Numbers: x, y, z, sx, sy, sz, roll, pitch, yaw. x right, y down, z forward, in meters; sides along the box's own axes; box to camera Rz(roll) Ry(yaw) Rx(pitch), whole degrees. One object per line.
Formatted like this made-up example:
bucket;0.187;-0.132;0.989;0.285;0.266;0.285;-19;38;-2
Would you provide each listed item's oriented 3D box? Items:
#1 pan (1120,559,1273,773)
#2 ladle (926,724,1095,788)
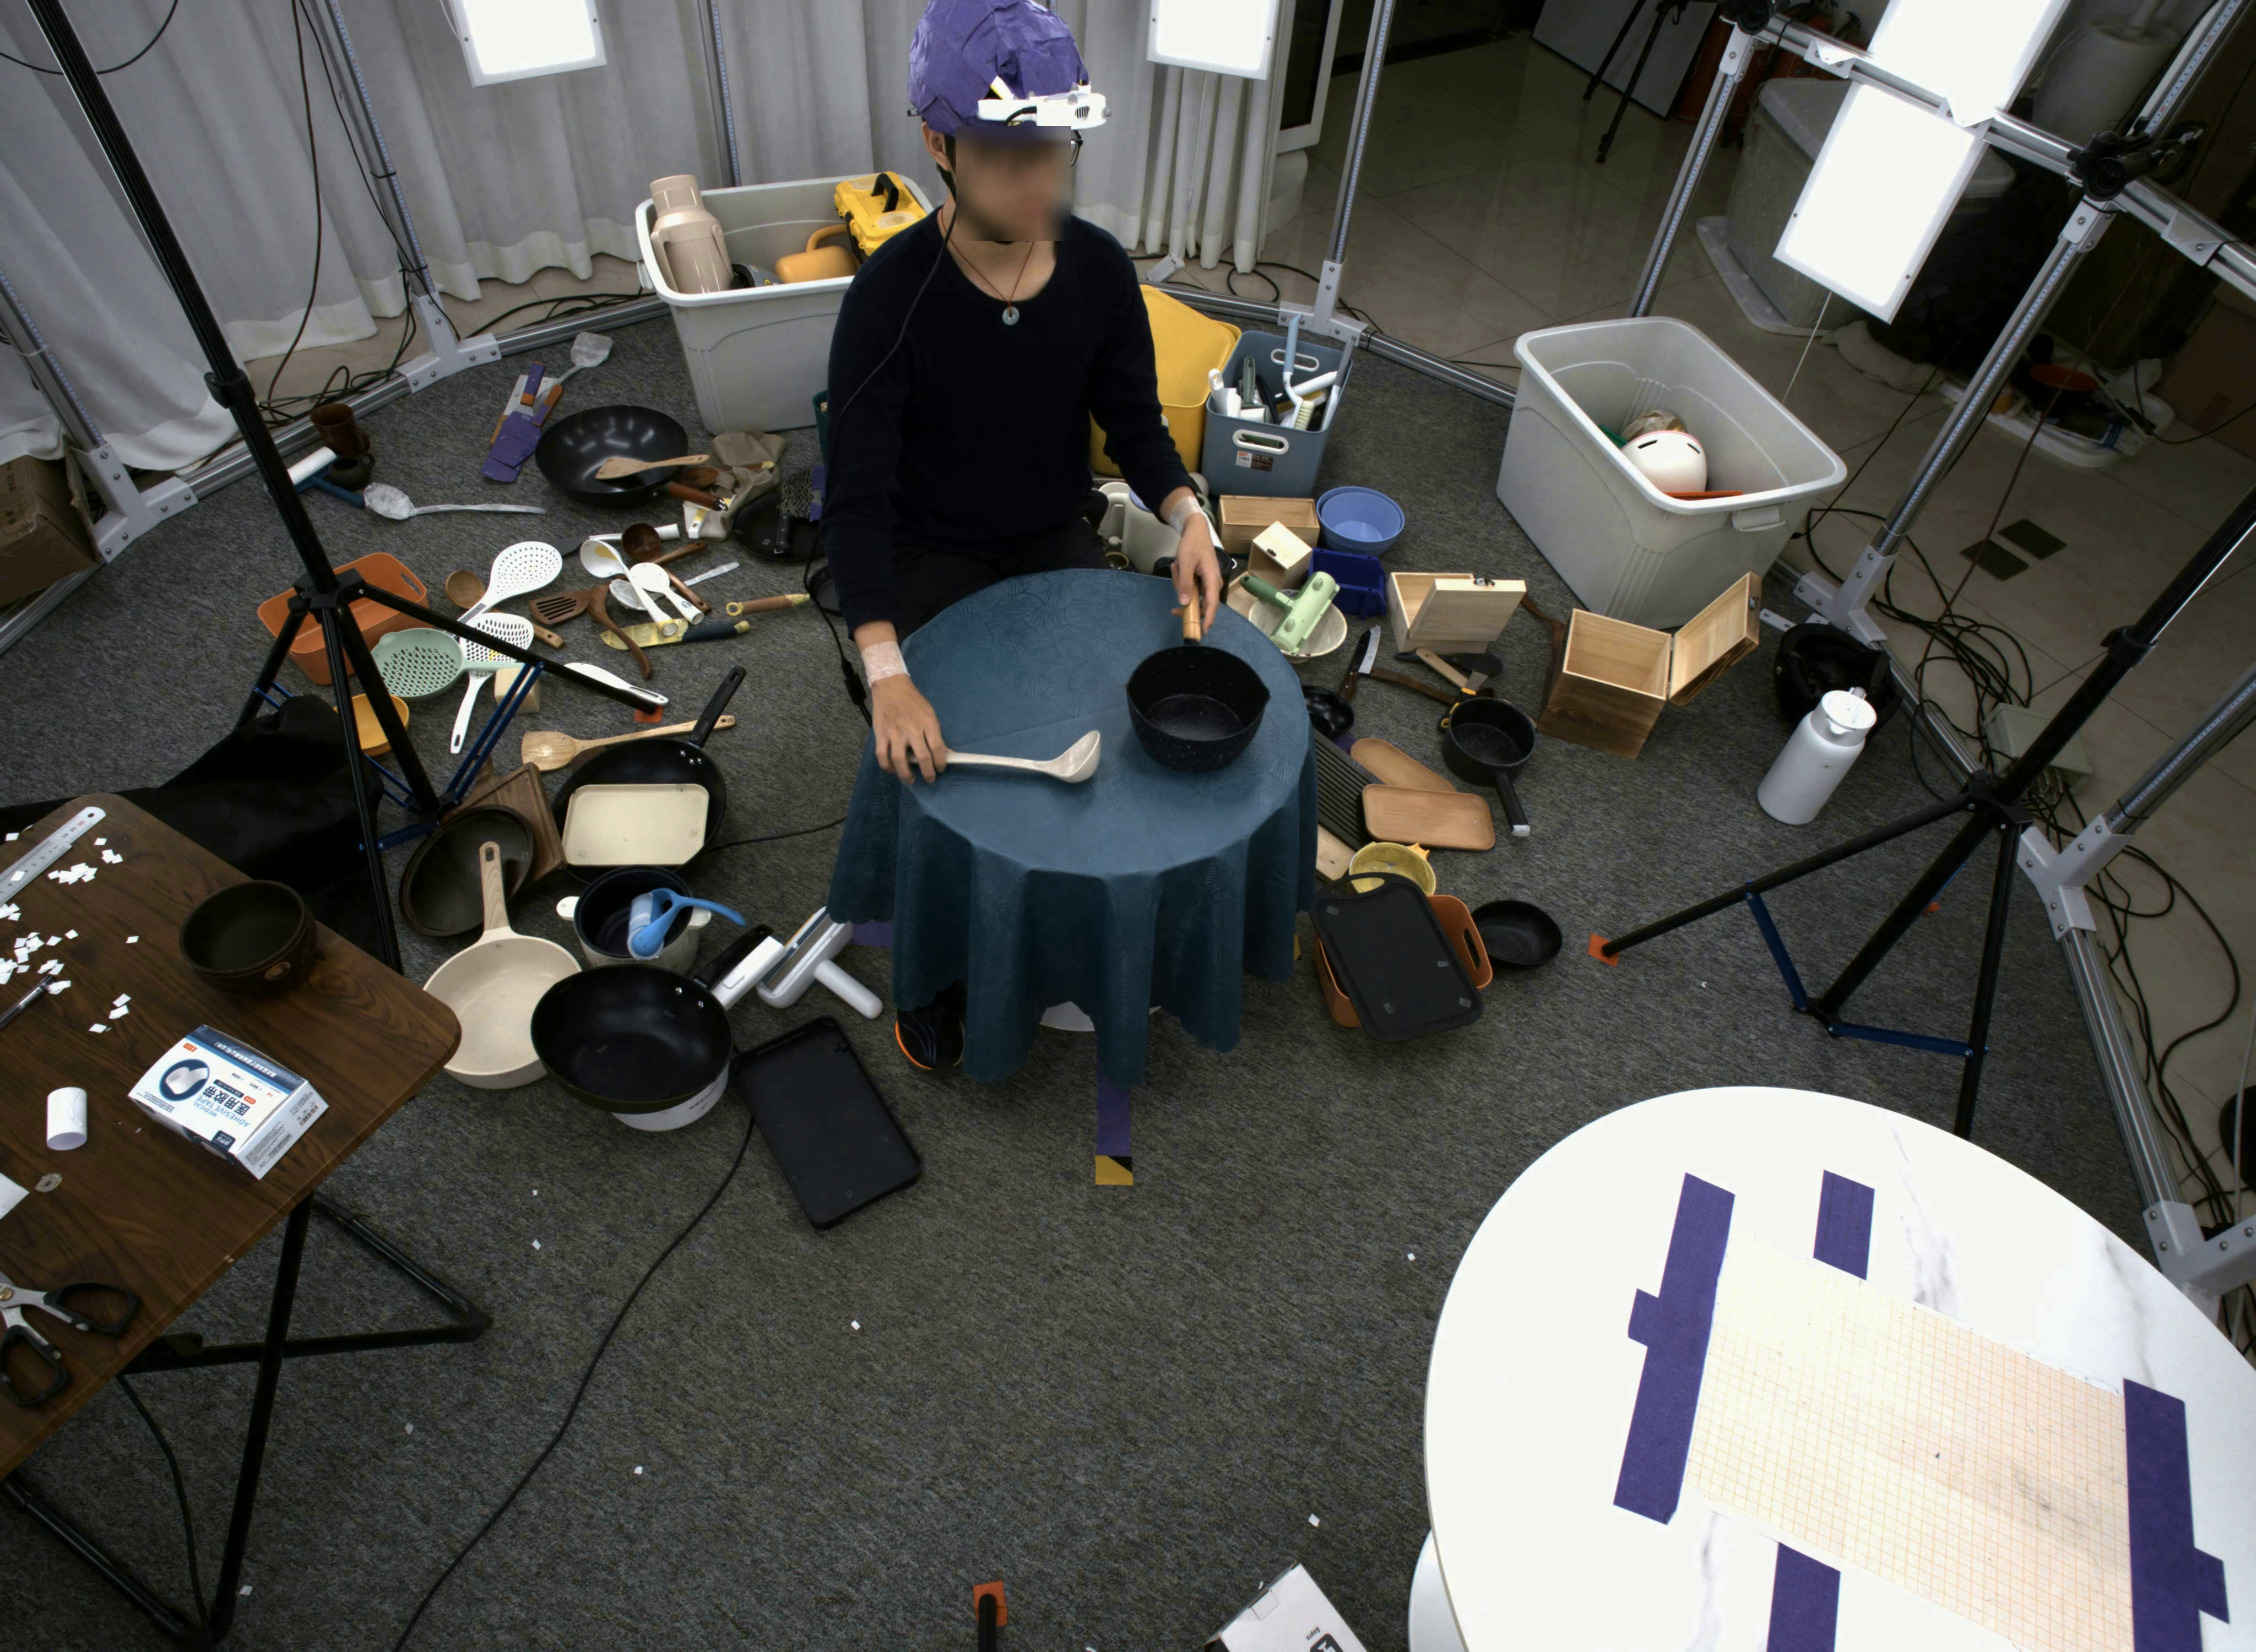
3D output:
pan;0.088;-0.225;1.800;0.207;0.105;0.351;0;50;-3
ladle;-0.169;-0.094;1.745;0.275;0.069;0.090;-3;10;30
